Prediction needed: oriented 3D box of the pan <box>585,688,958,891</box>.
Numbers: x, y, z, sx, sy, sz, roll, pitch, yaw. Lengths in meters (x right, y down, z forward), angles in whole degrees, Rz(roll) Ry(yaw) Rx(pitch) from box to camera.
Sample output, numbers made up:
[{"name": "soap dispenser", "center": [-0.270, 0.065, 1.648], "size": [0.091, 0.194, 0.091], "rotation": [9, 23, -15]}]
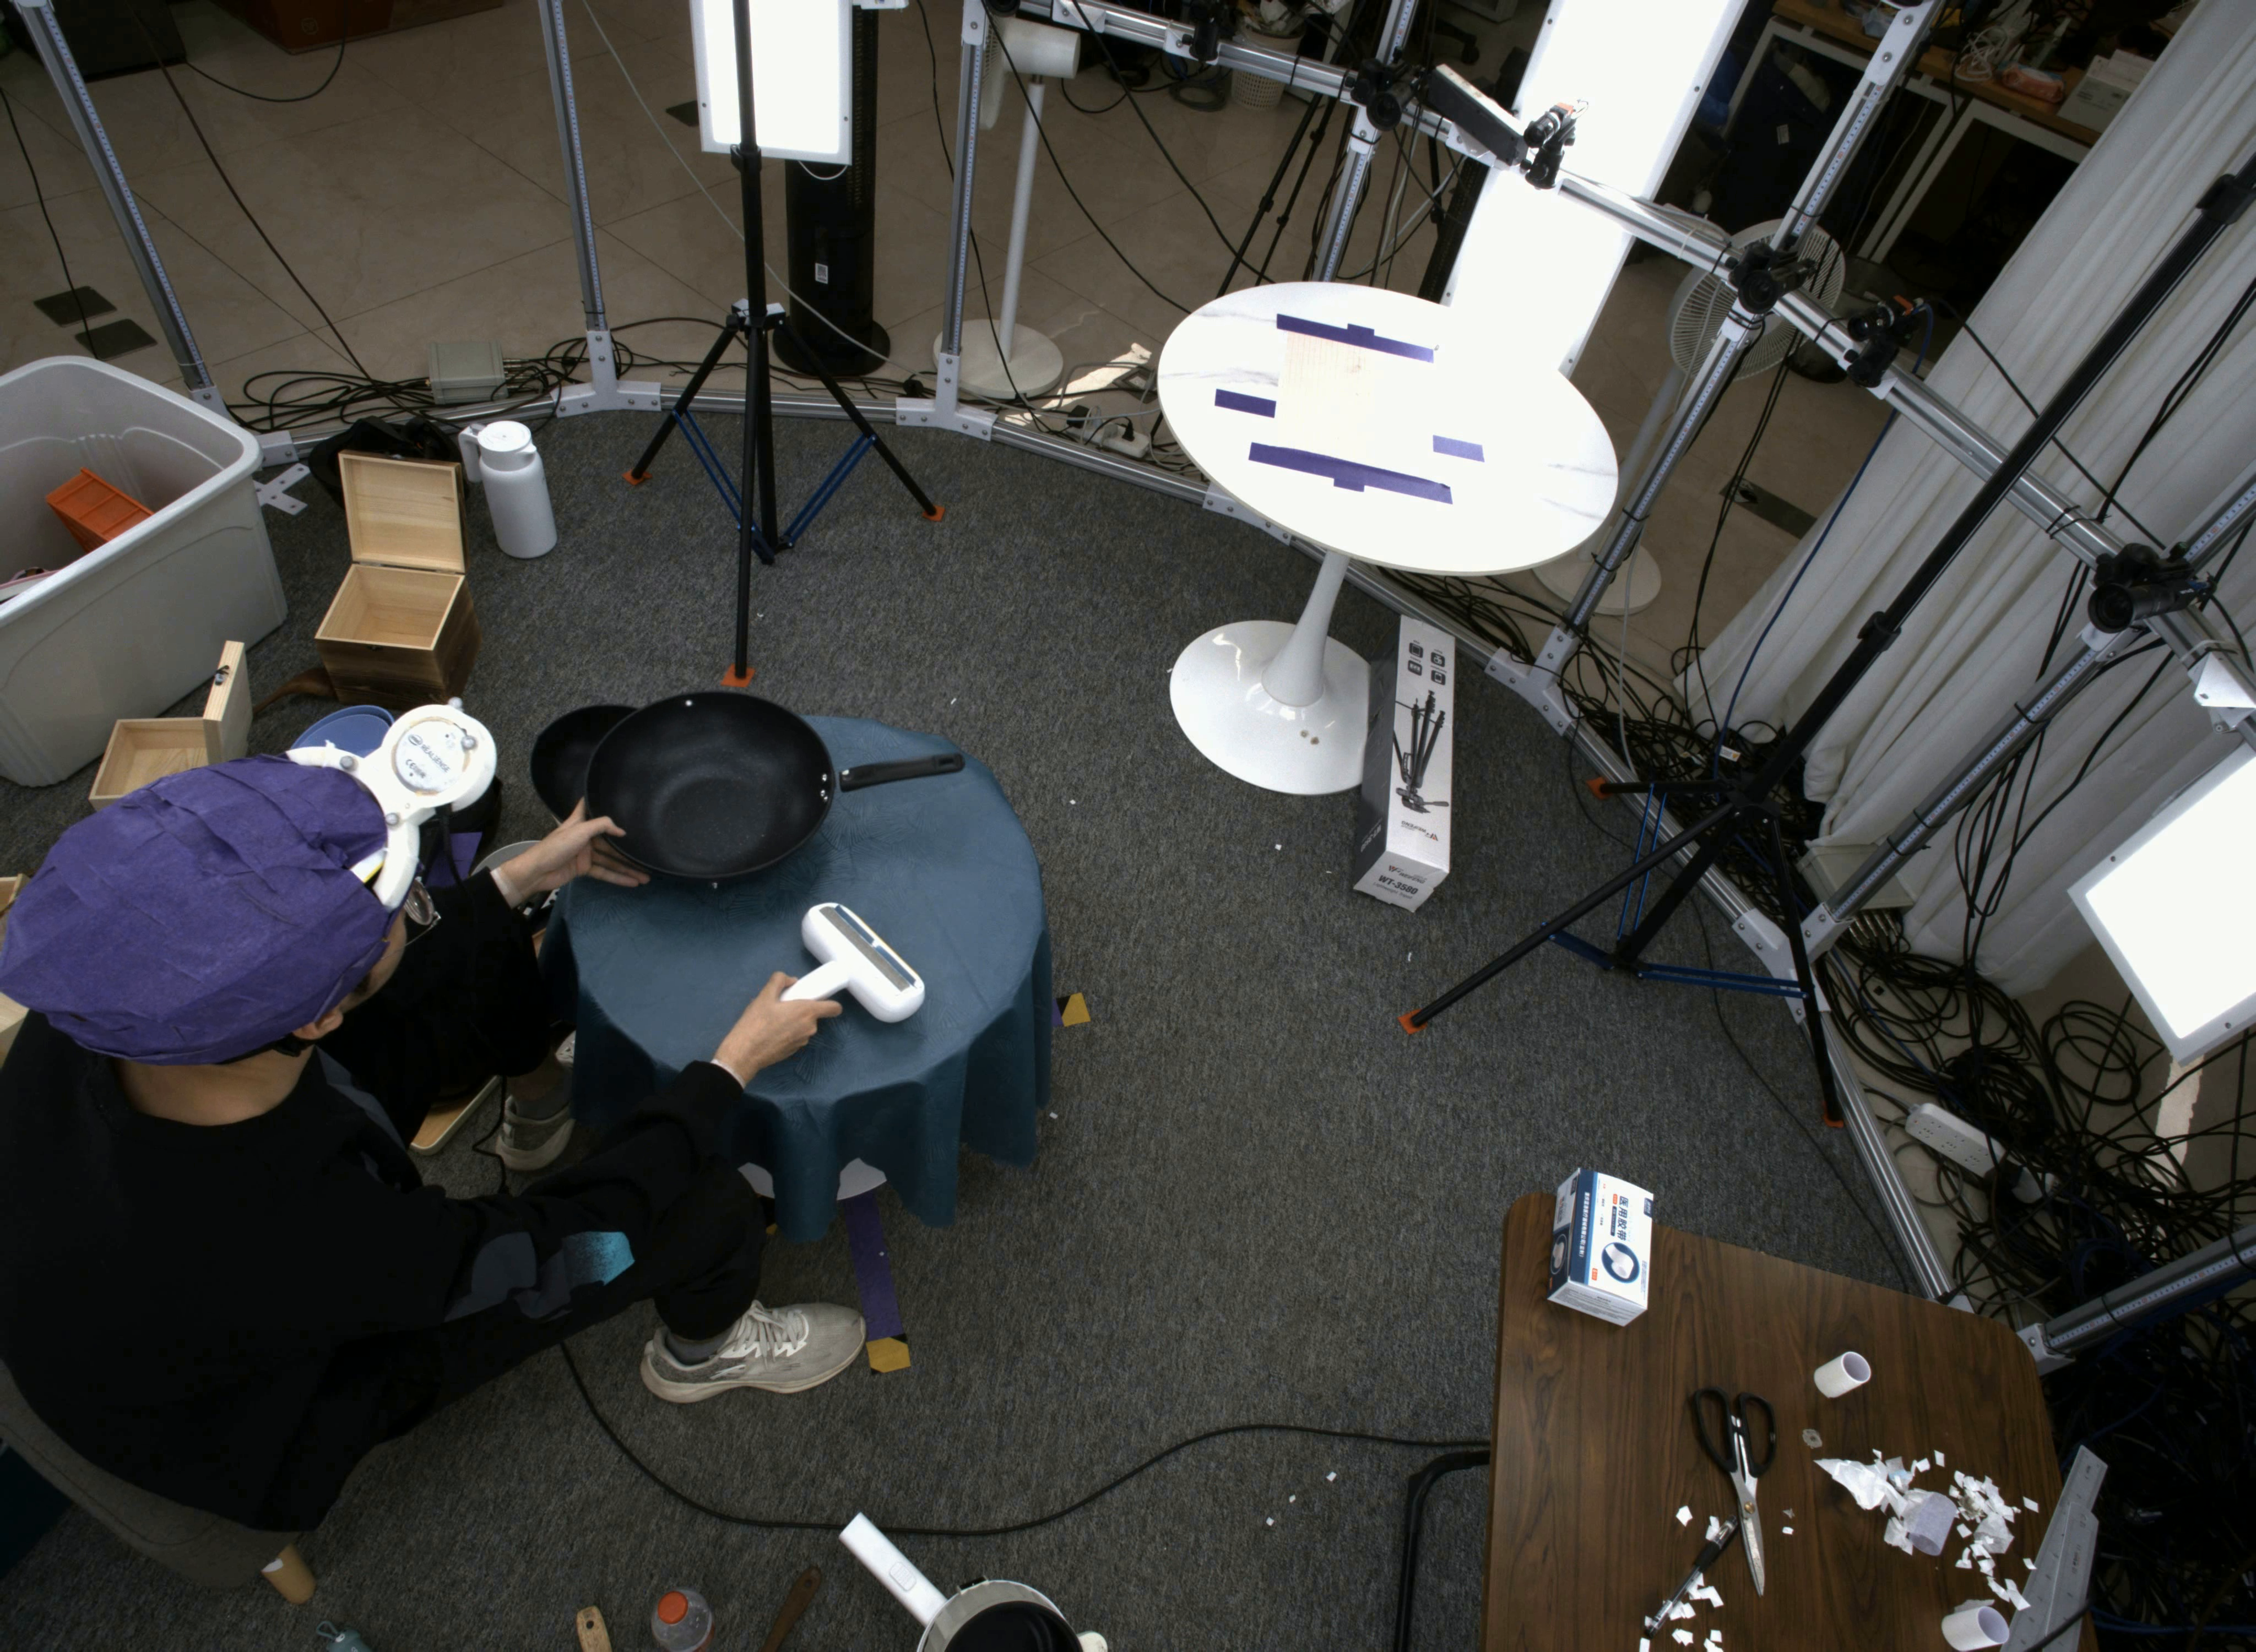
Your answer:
[{"name": "pan", "center": [-0.461, -0.045, 1.684], "size": [0.478, 0.113, 0.303], "rotation": [-3, 57, -17]}]

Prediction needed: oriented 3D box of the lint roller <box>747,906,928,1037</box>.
[{"name": "lint roller", "center": [-0.363, 0.188, 1.547], "size": [0.194, 0.075, 0.187], "rotation": [-21, 56, -42]}]
